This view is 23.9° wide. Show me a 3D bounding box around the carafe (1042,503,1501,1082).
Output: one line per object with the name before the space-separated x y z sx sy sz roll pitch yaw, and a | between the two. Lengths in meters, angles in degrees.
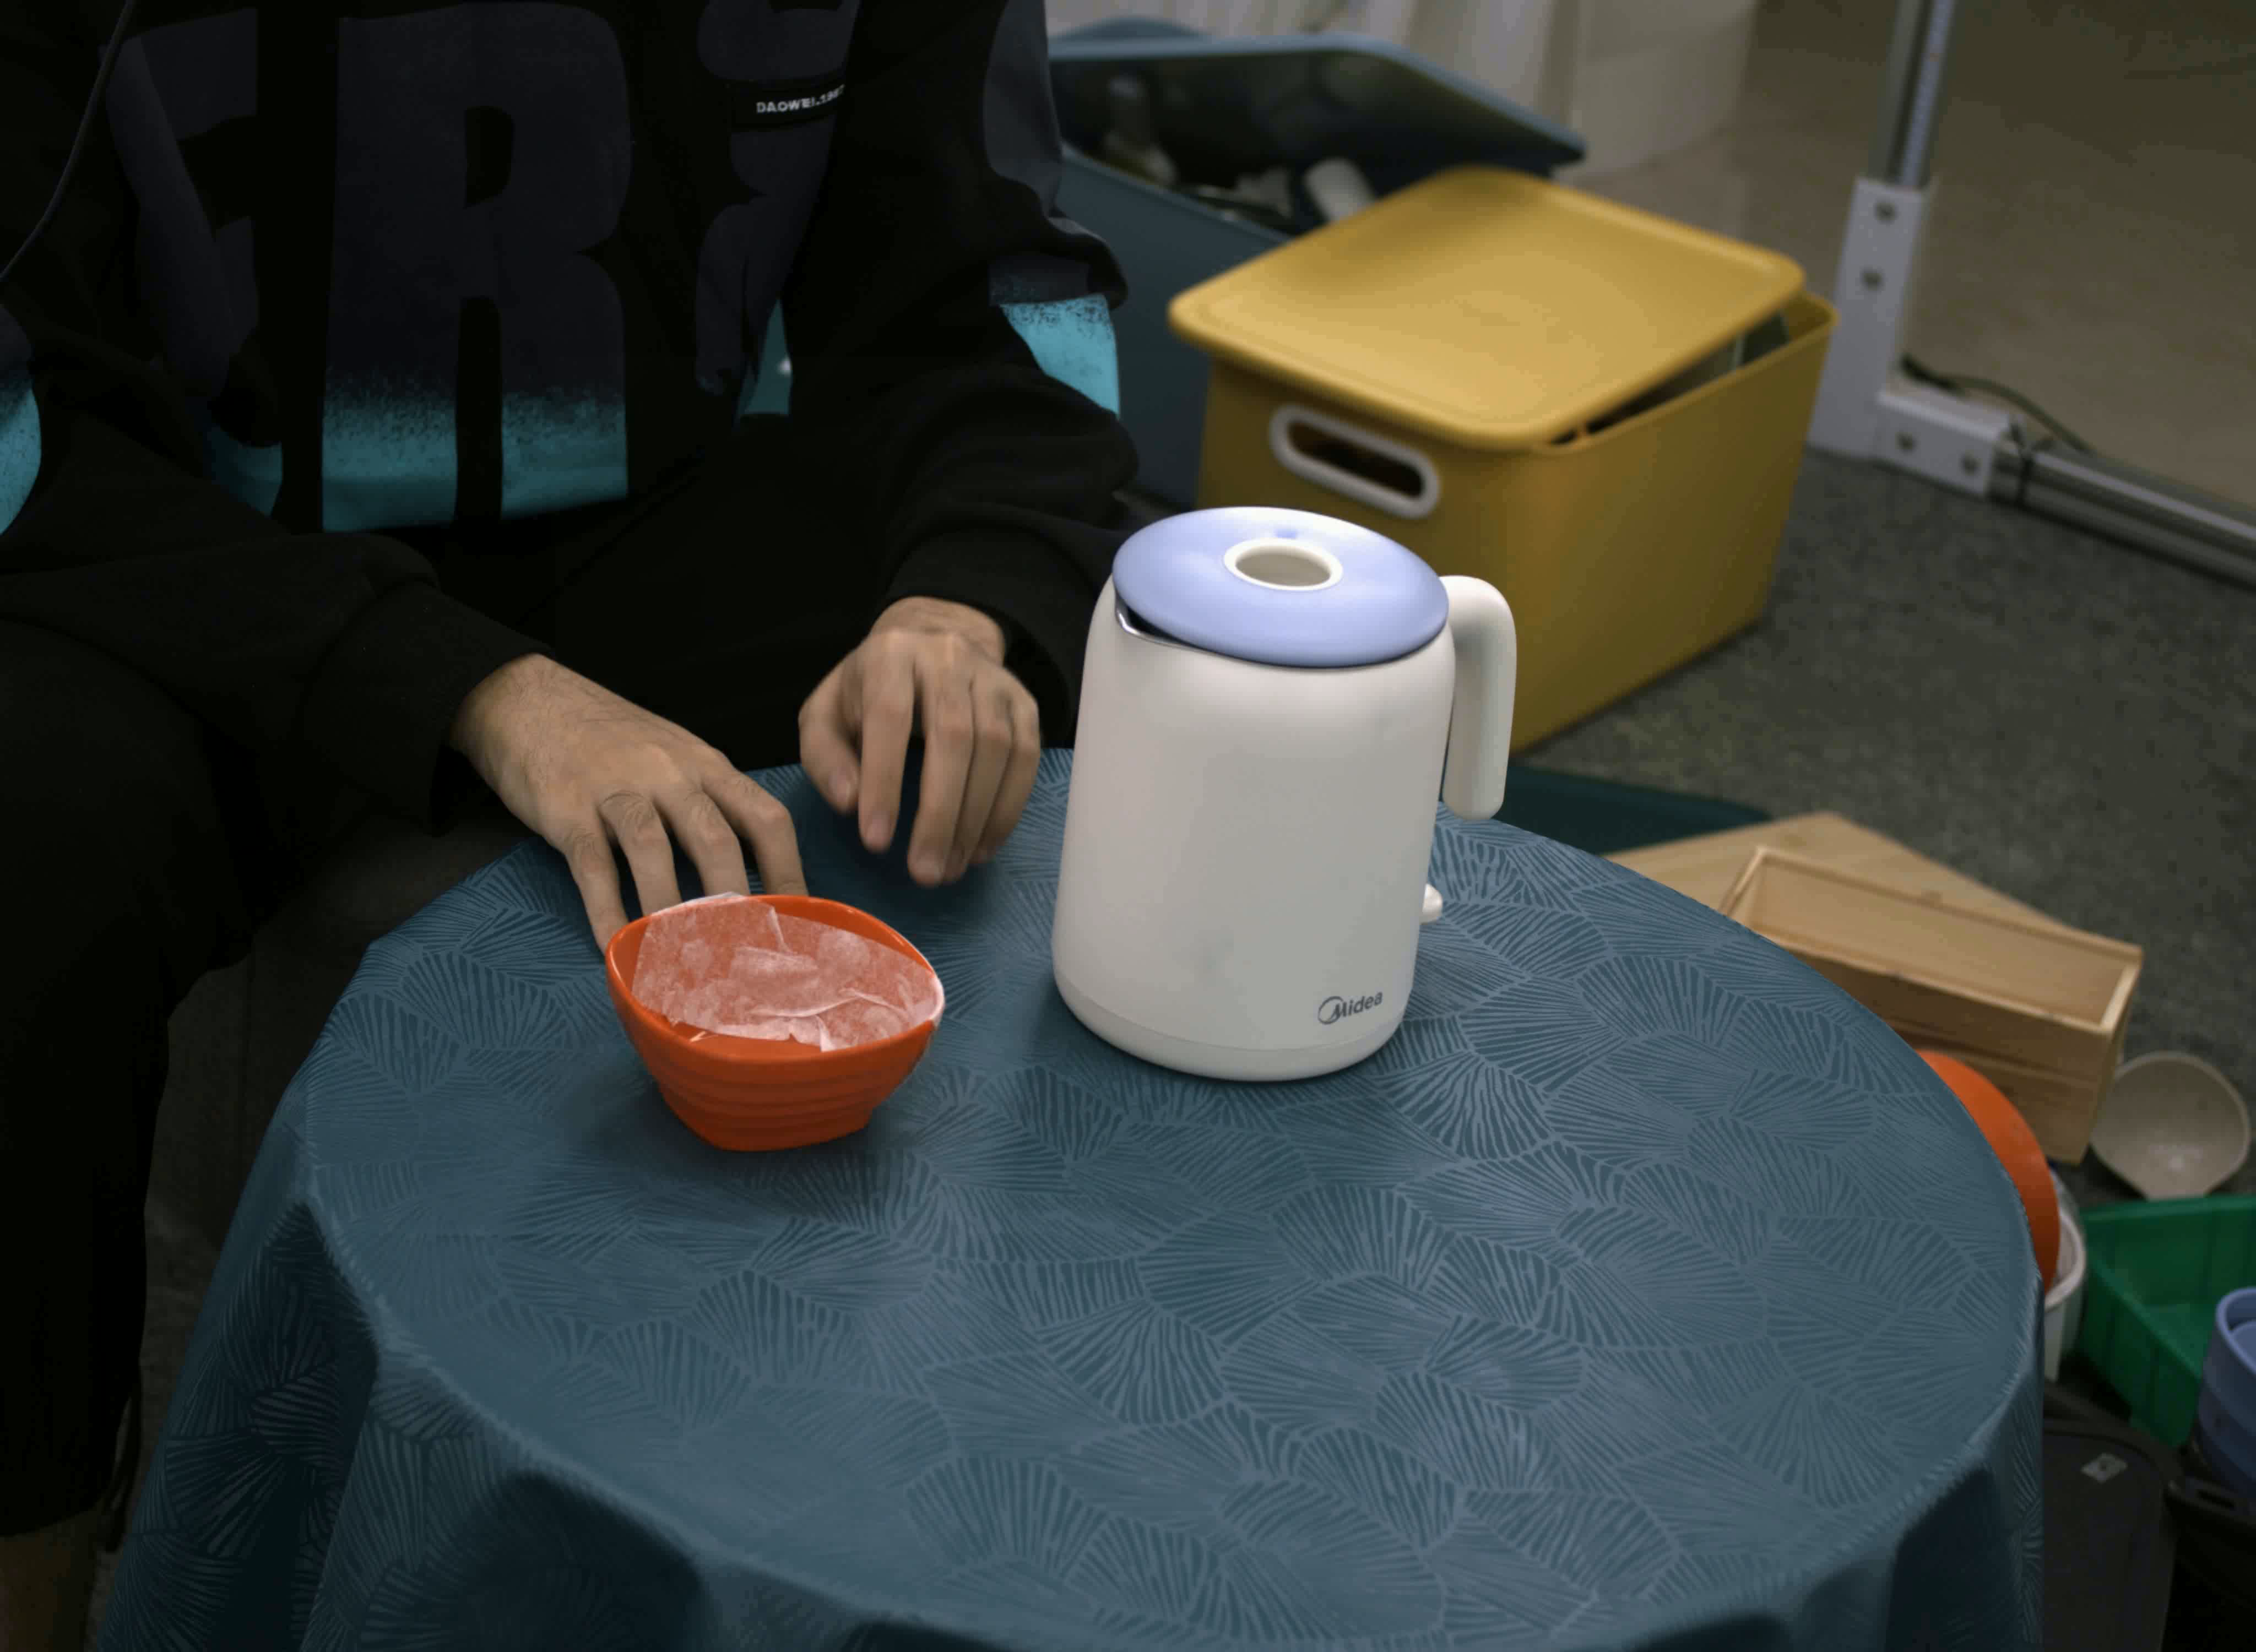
carafe | 0.061 -0.017 1.902 0.190 0.182 0.133 -13 34 -38

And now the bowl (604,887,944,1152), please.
bowl | -0.123 0.070 1.817 0.118 0.051 0.119 4 29 -3
